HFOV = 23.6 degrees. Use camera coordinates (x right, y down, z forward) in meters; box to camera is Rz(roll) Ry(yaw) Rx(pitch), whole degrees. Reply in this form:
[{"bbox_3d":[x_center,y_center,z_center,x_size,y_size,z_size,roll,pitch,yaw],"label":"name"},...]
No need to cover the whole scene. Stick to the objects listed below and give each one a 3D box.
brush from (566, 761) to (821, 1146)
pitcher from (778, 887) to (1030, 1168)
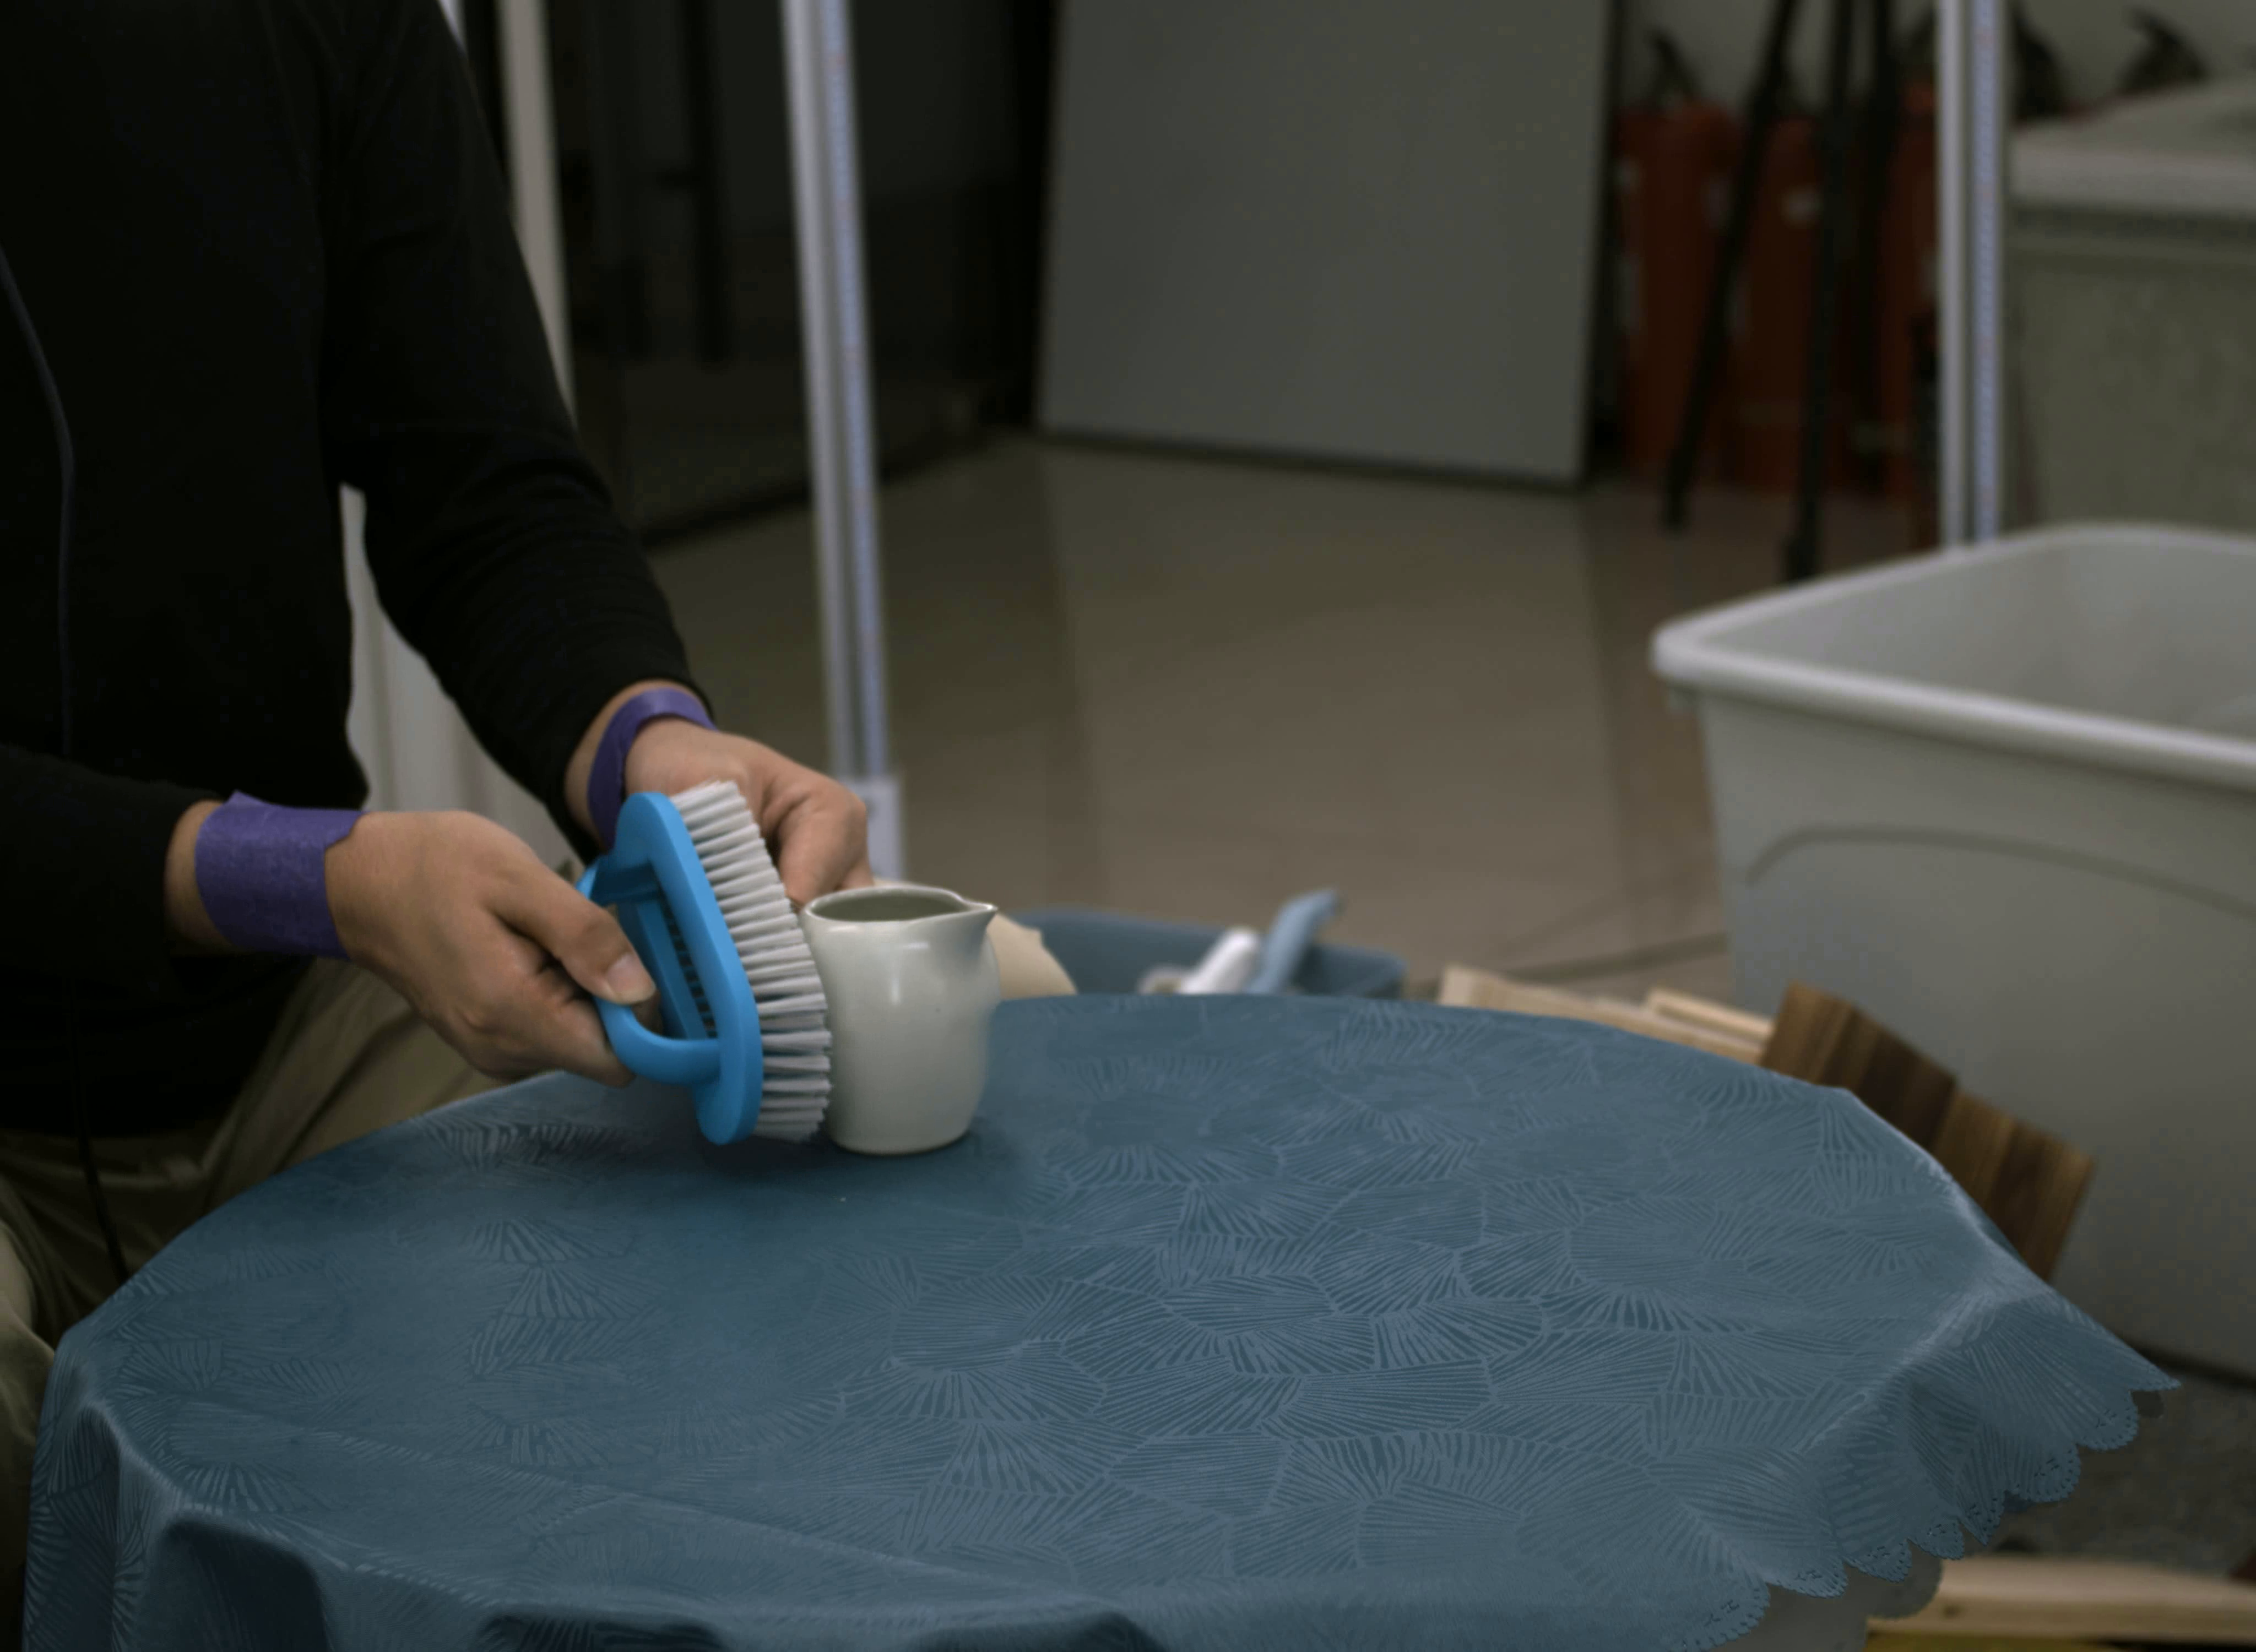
[{"bbox_3d":[-0.152,0.047,1.827,0.062,0.085,0.143,-8,51,-19],"label":"brush"},{"bbox_3d":[-0.079,0.066,1.832,0.120,0.089,0.074,14,16,43],"label":"pitcher"}]
